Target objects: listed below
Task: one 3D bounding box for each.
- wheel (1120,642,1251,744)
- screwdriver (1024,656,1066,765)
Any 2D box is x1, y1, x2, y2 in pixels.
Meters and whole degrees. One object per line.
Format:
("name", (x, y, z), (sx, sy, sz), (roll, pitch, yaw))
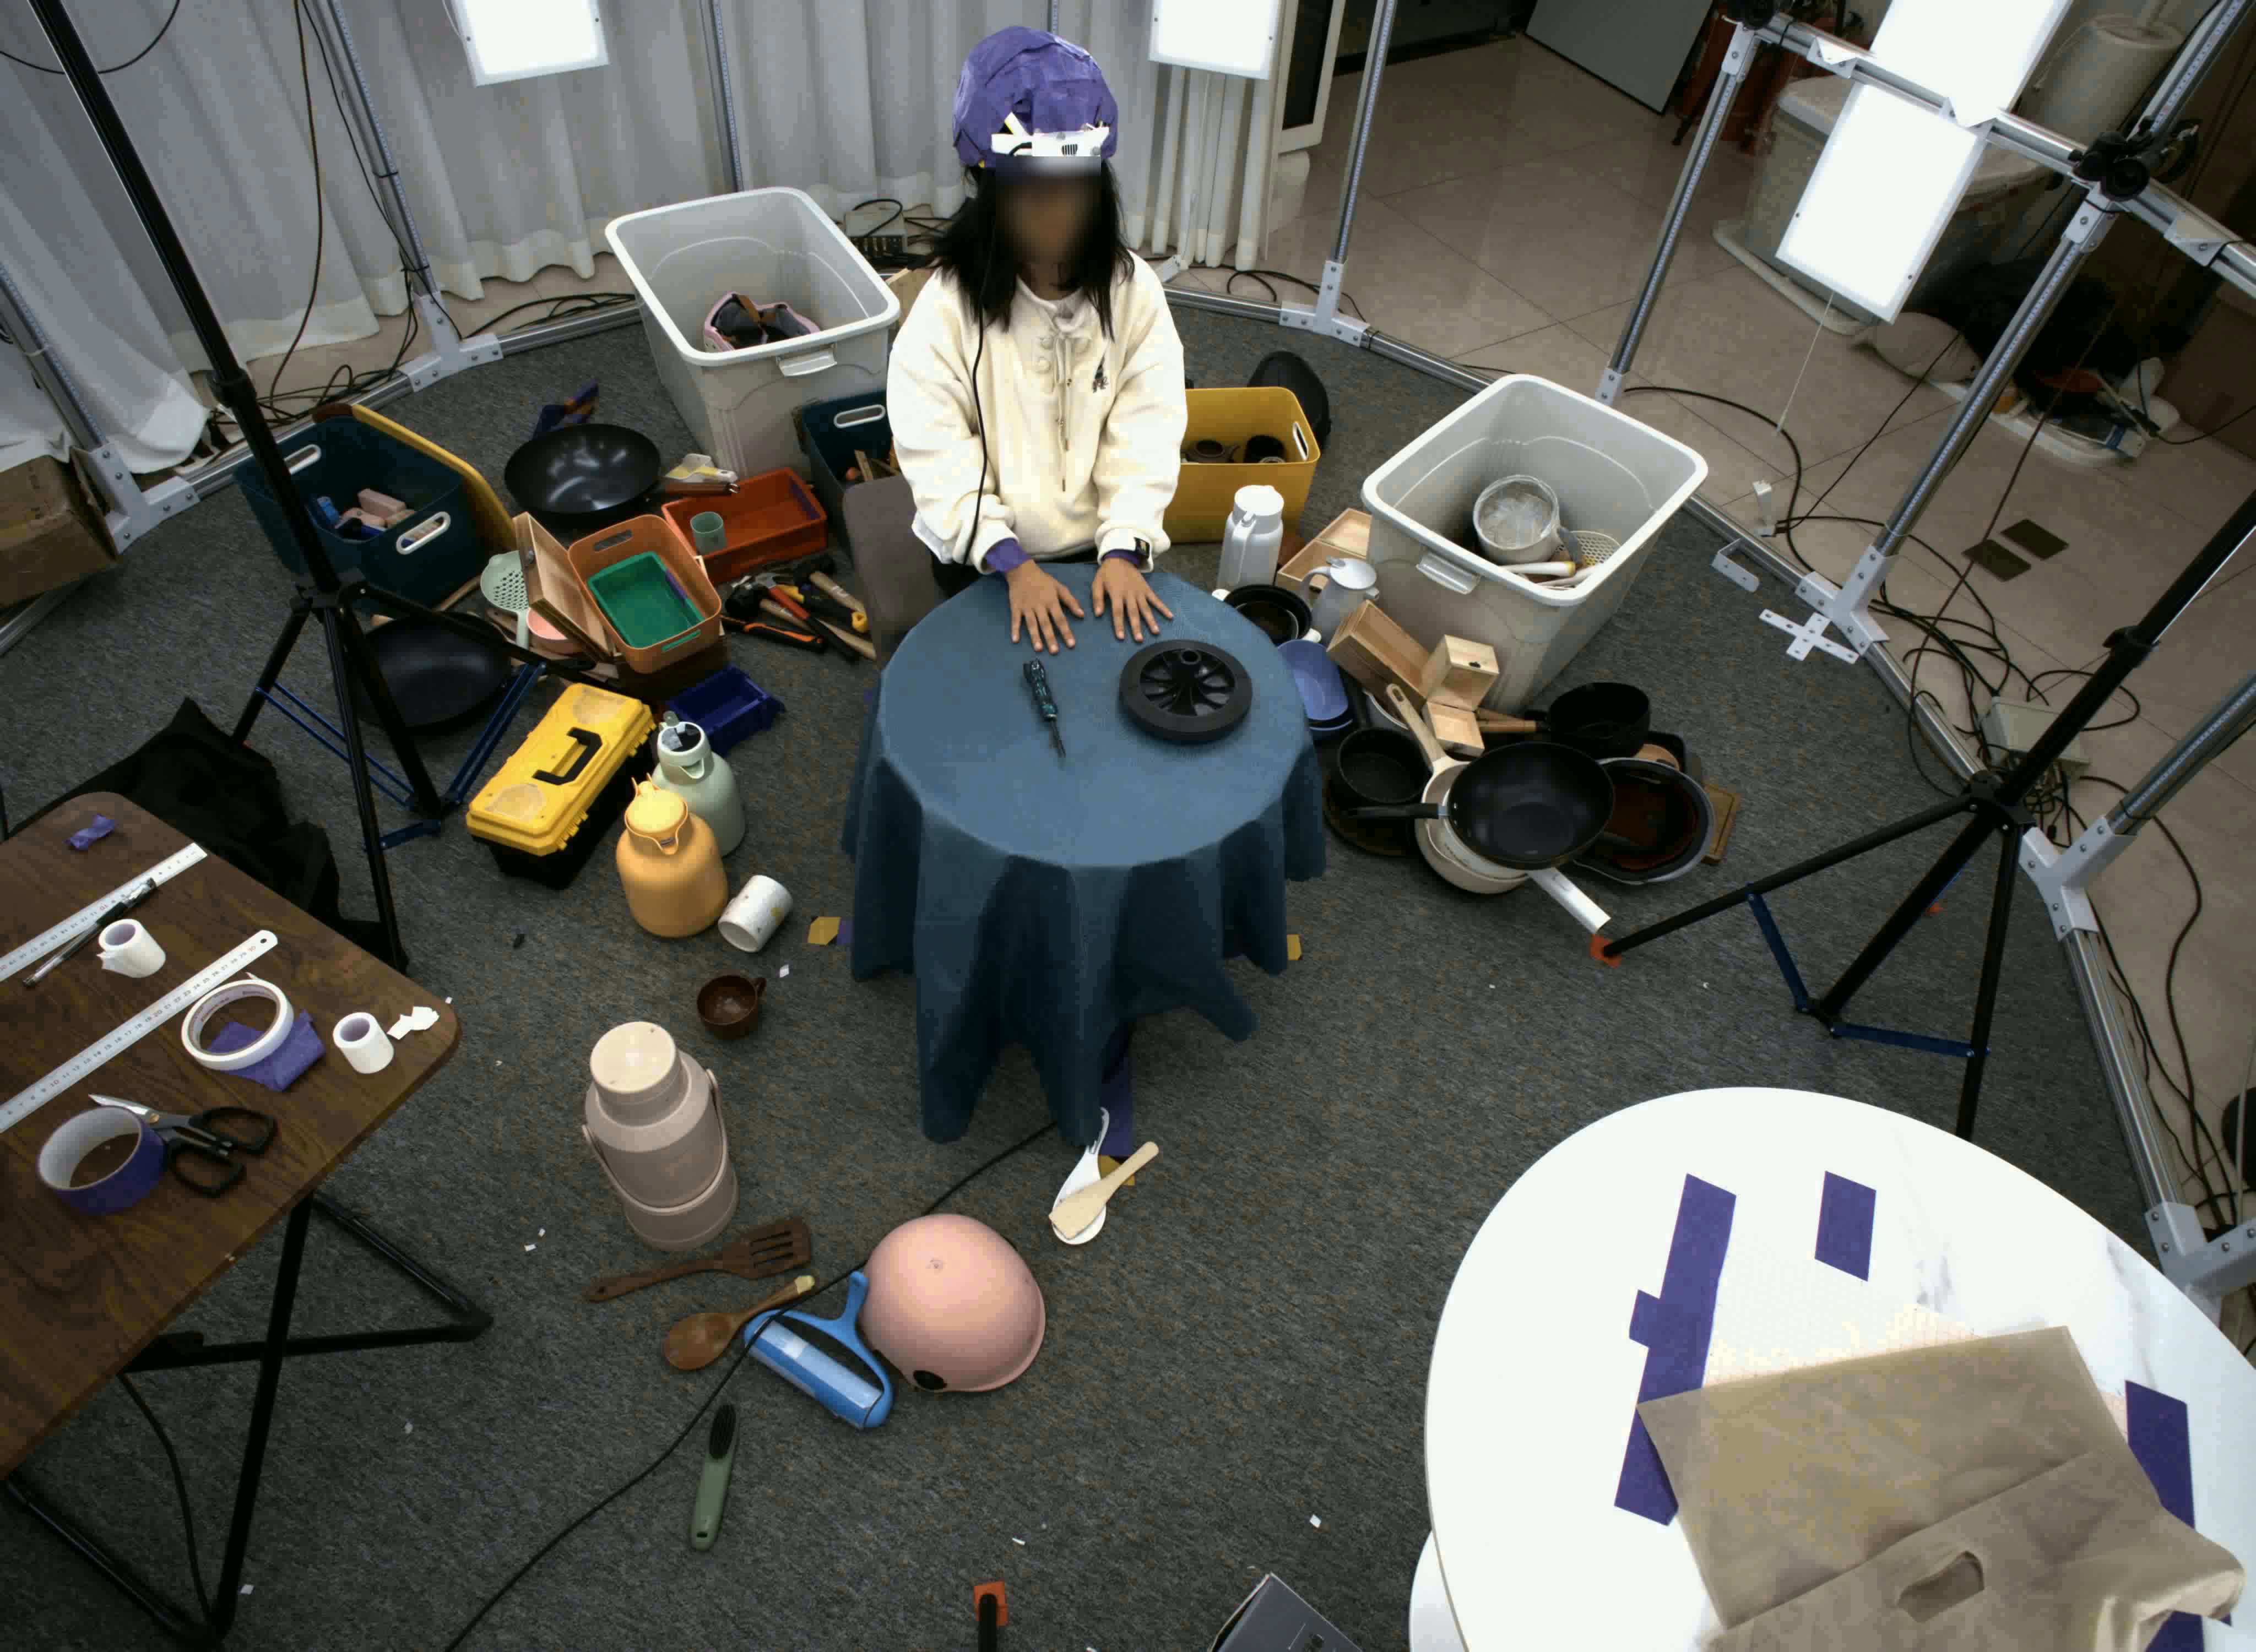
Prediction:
("wheel", (0.083, -0.204, 1.804), (0.188, 0.077, 0.193), (22, 51, 14))
("screwdriver", (-0.112, -0.161, 1.789), (0.033, 0.033, 0.194), (-10, 56, -13))
